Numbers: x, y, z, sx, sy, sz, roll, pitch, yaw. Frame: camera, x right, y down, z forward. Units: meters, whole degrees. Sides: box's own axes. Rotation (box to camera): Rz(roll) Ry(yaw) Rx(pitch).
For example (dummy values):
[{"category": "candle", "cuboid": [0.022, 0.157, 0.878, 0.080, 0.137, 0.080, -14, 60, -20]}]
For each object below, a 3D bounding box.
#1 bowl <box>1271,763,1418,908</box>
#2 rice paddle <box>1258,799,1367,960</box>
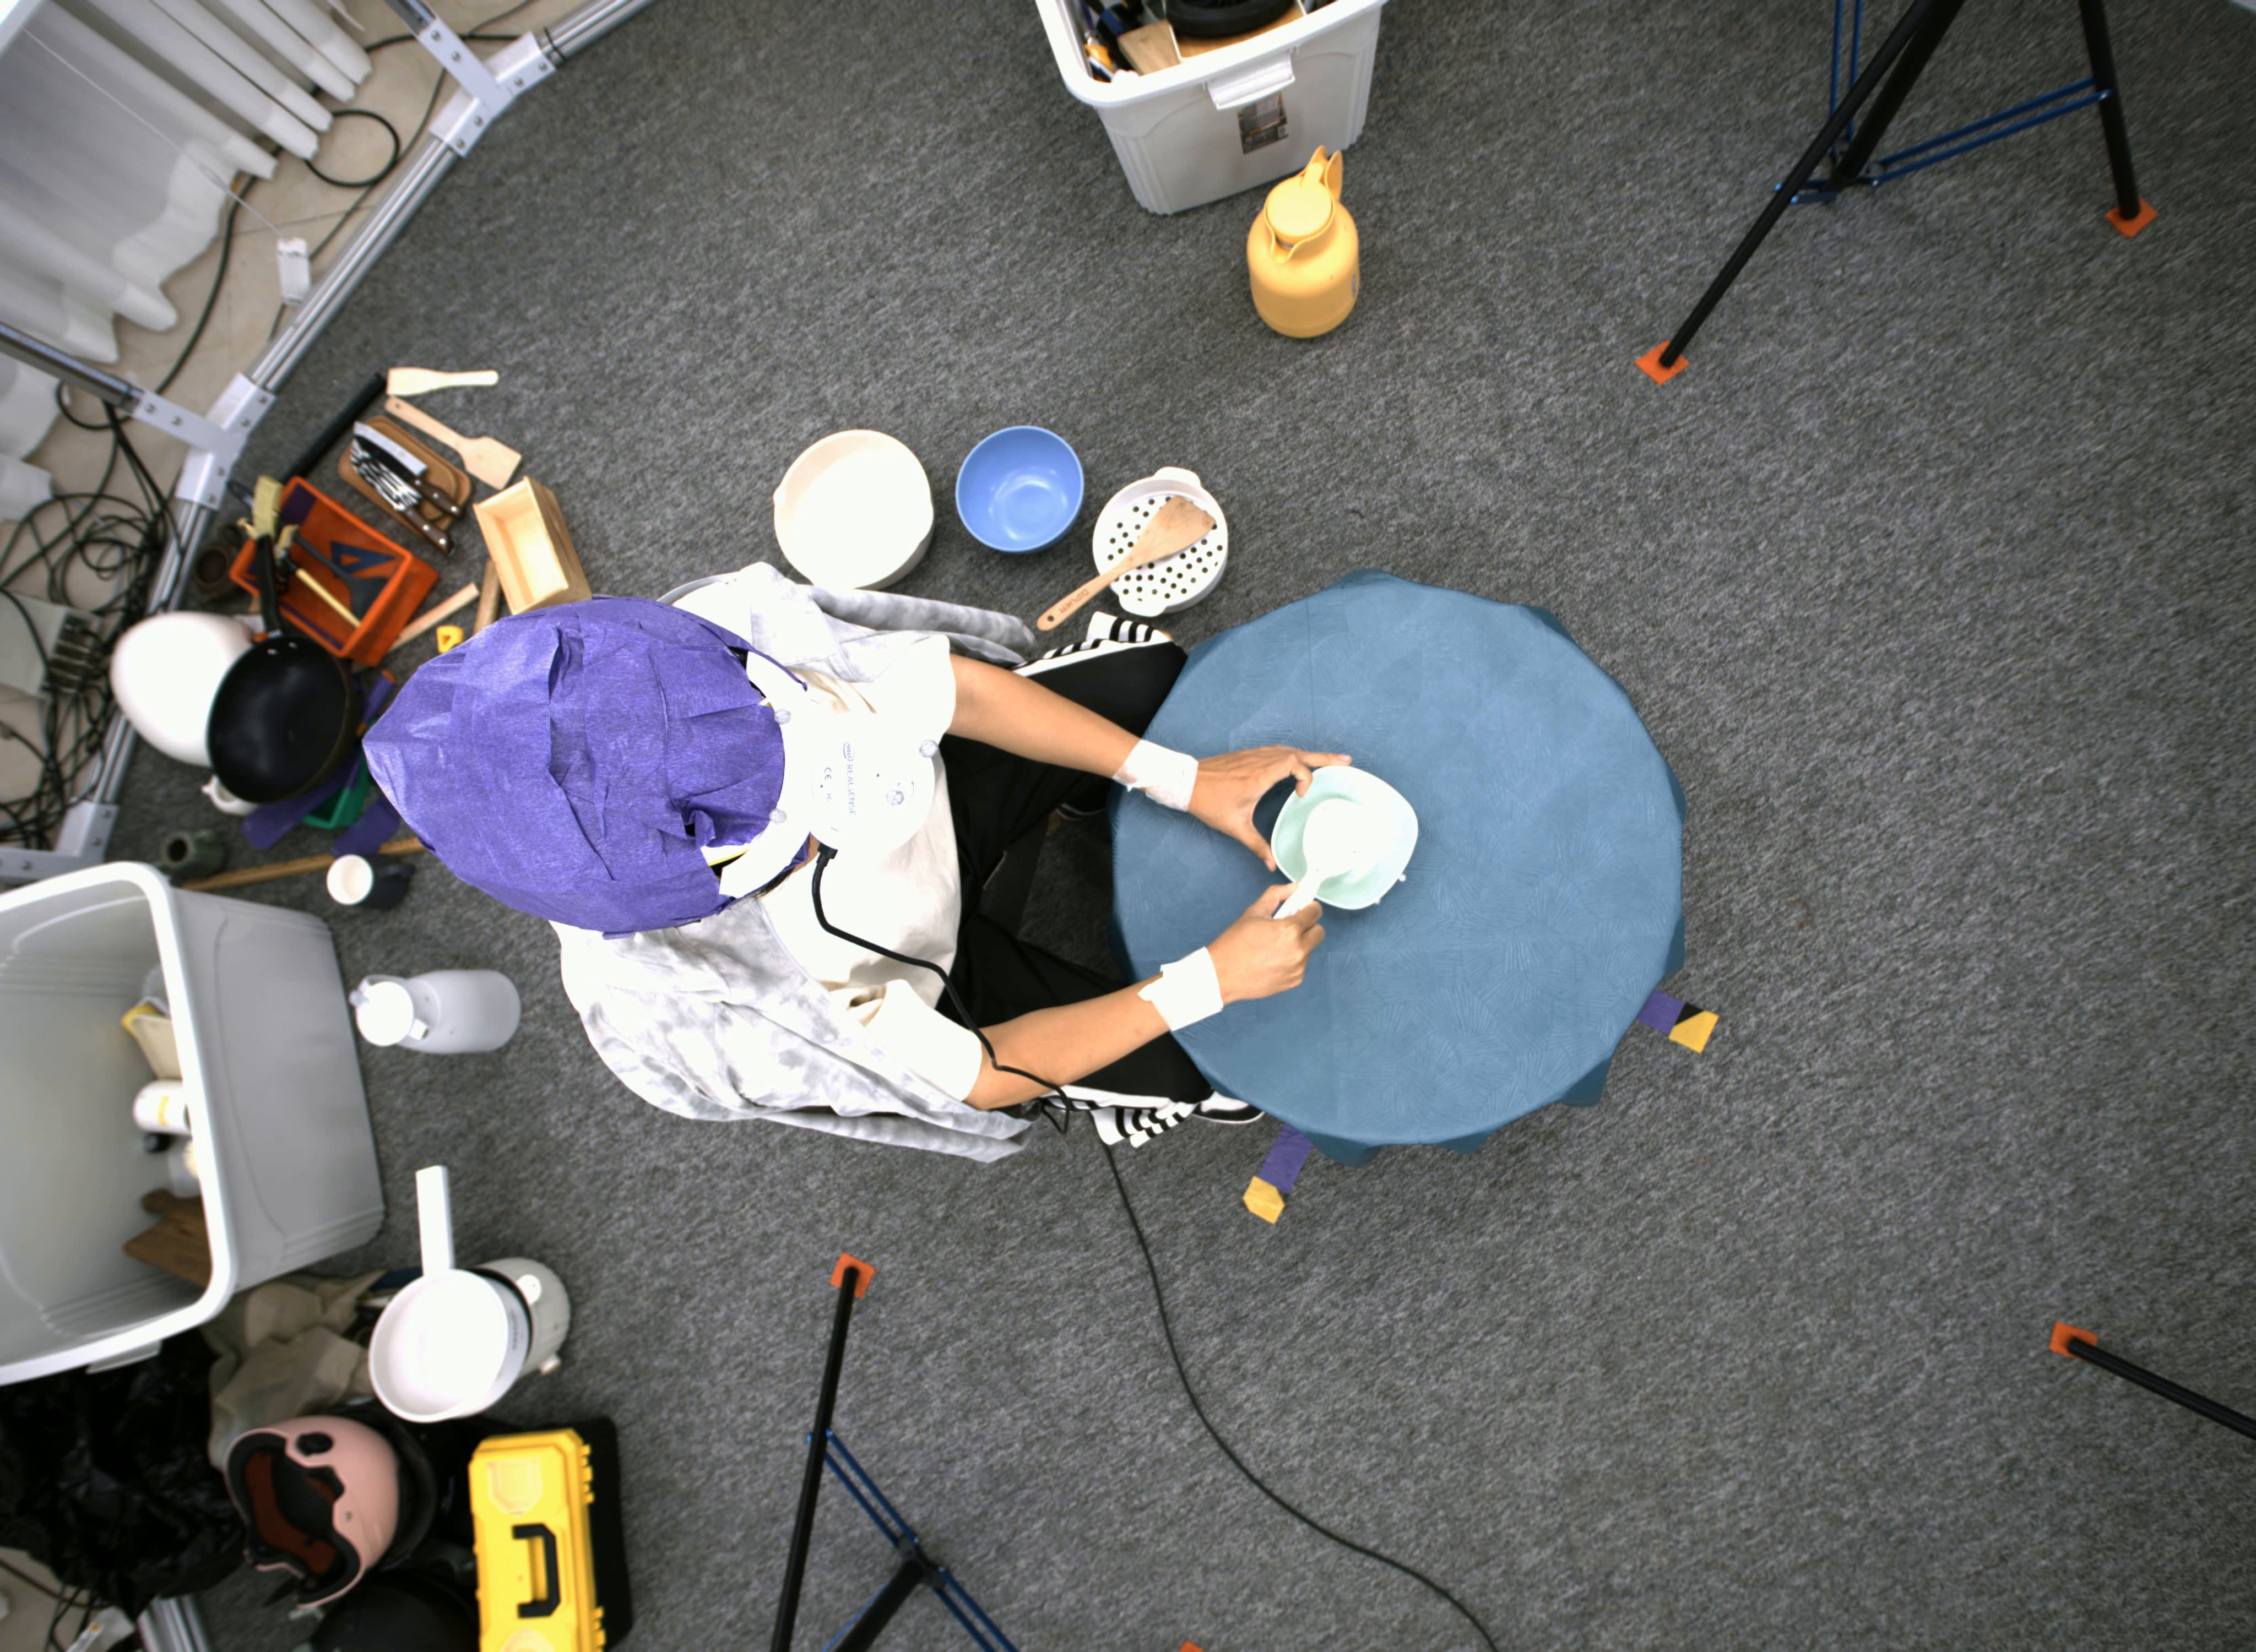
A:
[{"category": "bowl", "cuboid": [0.225, 0.010, 1.441, 0.152, 0.058, 0.151, 0, 88, 9]}, {"category": "rice paddle", "cuboid": [0.186, 0.047, 1.396, 0.069, 0.030, 0.200, 32, 60, 1]}]
